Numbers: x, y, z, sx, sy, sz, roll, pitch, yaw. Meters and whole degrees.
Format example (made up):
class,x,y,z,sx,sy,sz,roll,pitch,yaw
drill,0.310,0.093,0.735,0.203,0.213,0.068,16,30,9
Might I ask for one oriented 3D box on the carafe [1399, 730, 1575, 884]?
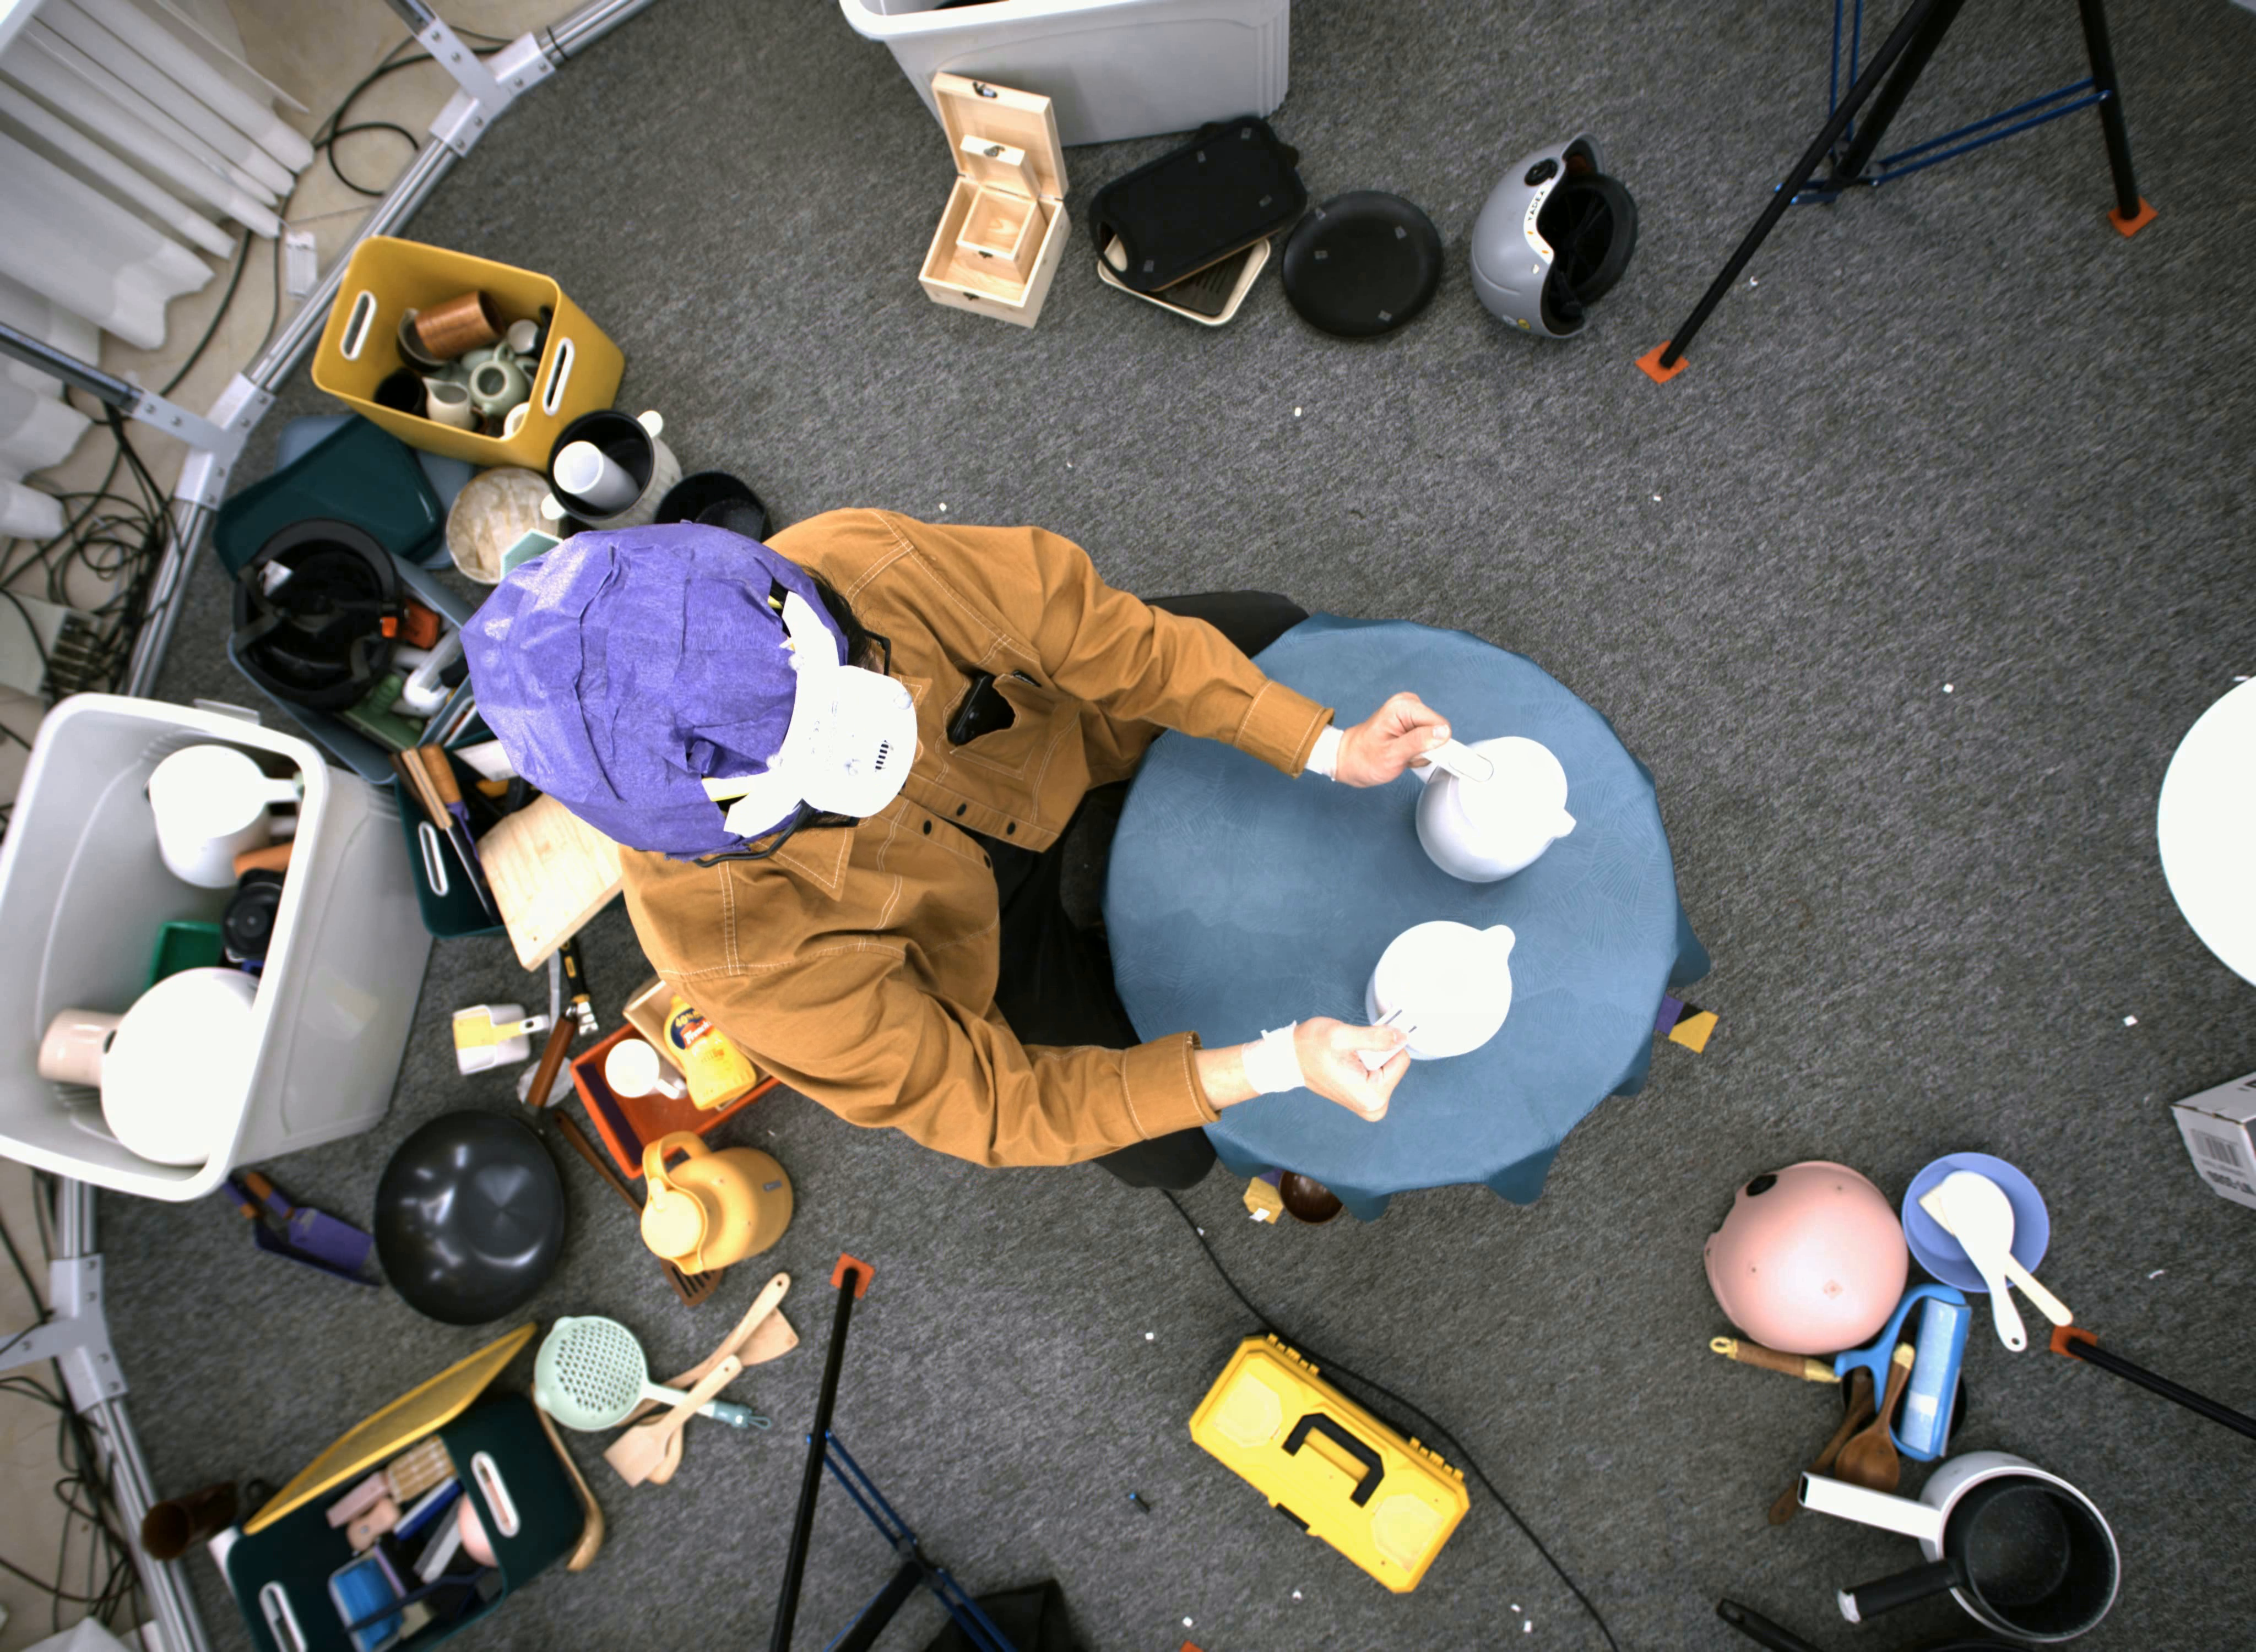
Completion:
class,x,y,z,sx,sy,sz,roll,pitch,yaw
carafe,0.330,-0.030,1.299,0.167,0.249,0.132,34,90,10

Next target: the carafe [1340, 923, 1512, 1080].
class,x,y,z,sx,sy,sz,roll,pitch,yaw
carafe,0.268,0.165,1.262,0.173,0.270,0.123,-42,80,-1
